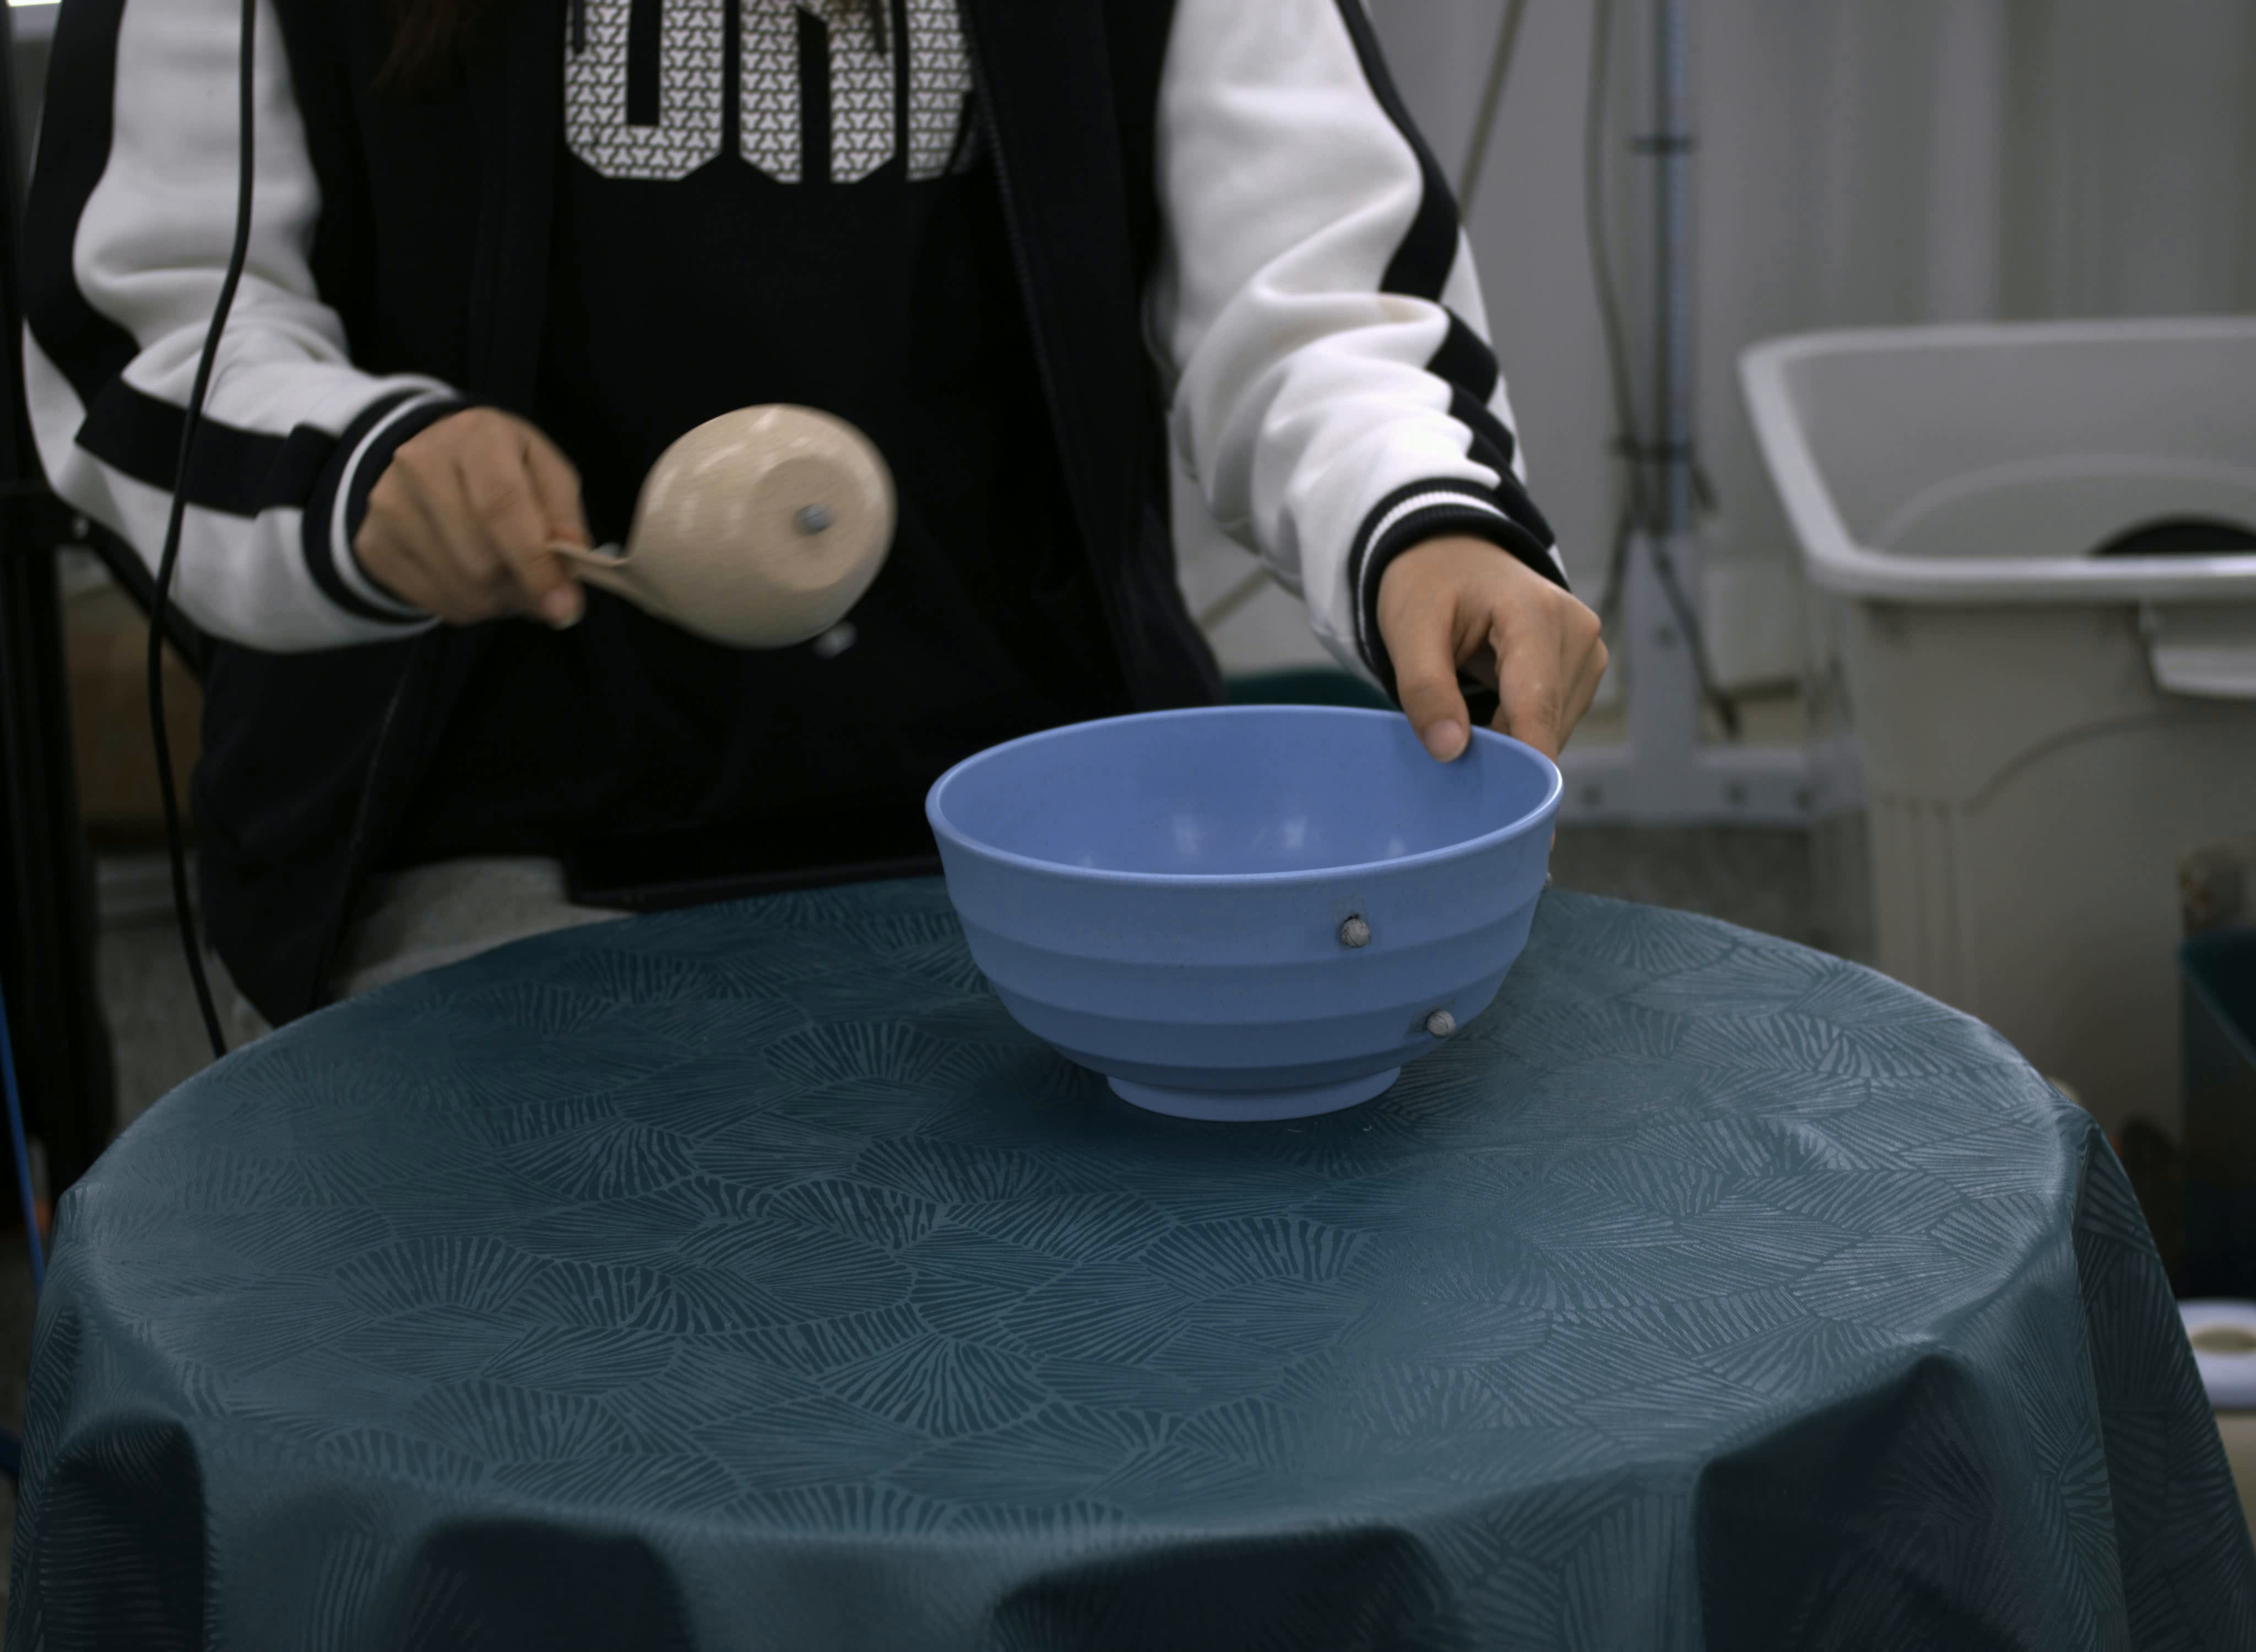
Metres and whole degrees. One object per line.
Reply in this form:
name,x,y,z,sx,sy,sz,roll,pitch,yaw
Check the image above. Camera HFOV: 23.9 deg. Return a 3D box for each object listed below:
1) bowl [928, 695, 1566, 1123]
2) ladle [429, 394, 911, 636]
bowl,0.037,0.032,1.645,0.195,0.095,0.197,-2,17,-1
ladle,-0.146,-0.105,1.671,0.072,0.071,0.259,-44,23,-15
